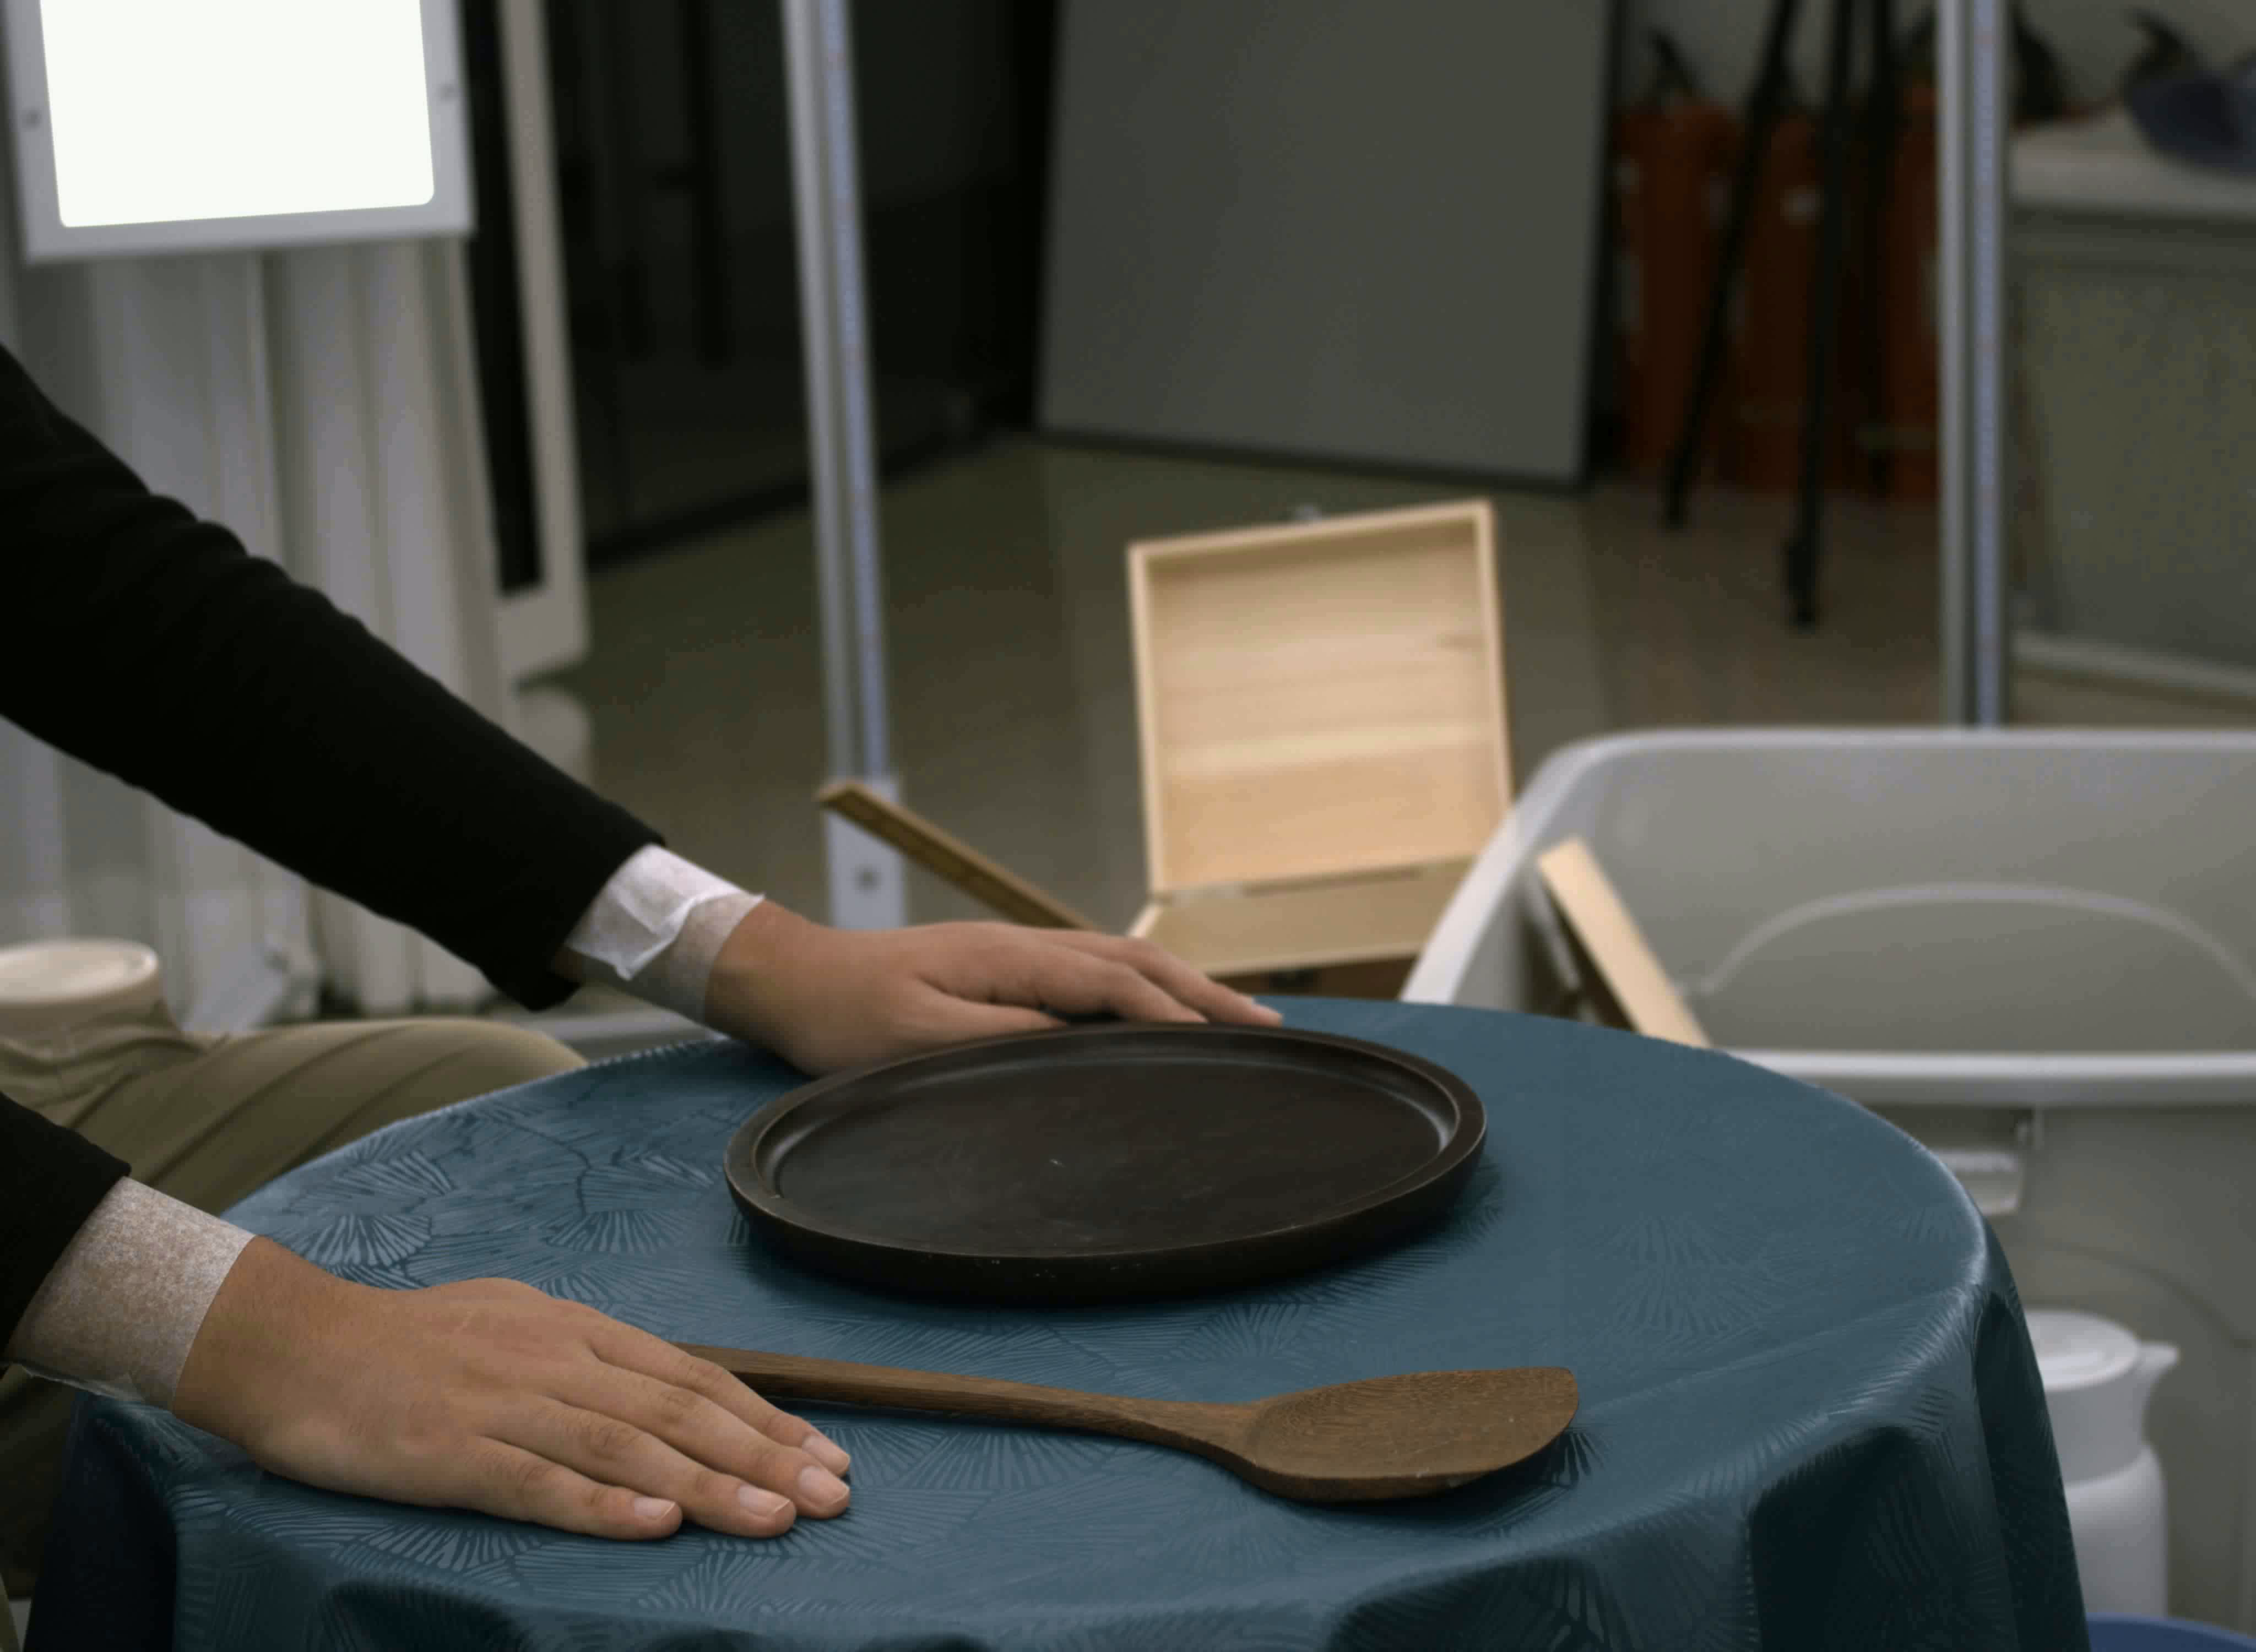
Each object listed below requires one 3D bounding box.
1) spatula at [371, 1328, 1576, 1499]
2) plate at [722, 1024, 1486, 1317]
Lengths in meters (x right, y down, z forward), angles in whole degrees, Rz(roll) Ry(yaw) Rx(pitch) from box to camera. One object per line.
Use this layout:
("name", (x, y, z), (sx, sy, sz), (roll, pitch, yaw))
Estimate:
("spatula", (-0.055, 0.166, 1.573), (0.386, 0.016, 0.095), (2, 14, 25))
("plate", (-0.007, 0.111, 1.767), (0.251, 0.029, 0.255), (-4, 15, 0))
